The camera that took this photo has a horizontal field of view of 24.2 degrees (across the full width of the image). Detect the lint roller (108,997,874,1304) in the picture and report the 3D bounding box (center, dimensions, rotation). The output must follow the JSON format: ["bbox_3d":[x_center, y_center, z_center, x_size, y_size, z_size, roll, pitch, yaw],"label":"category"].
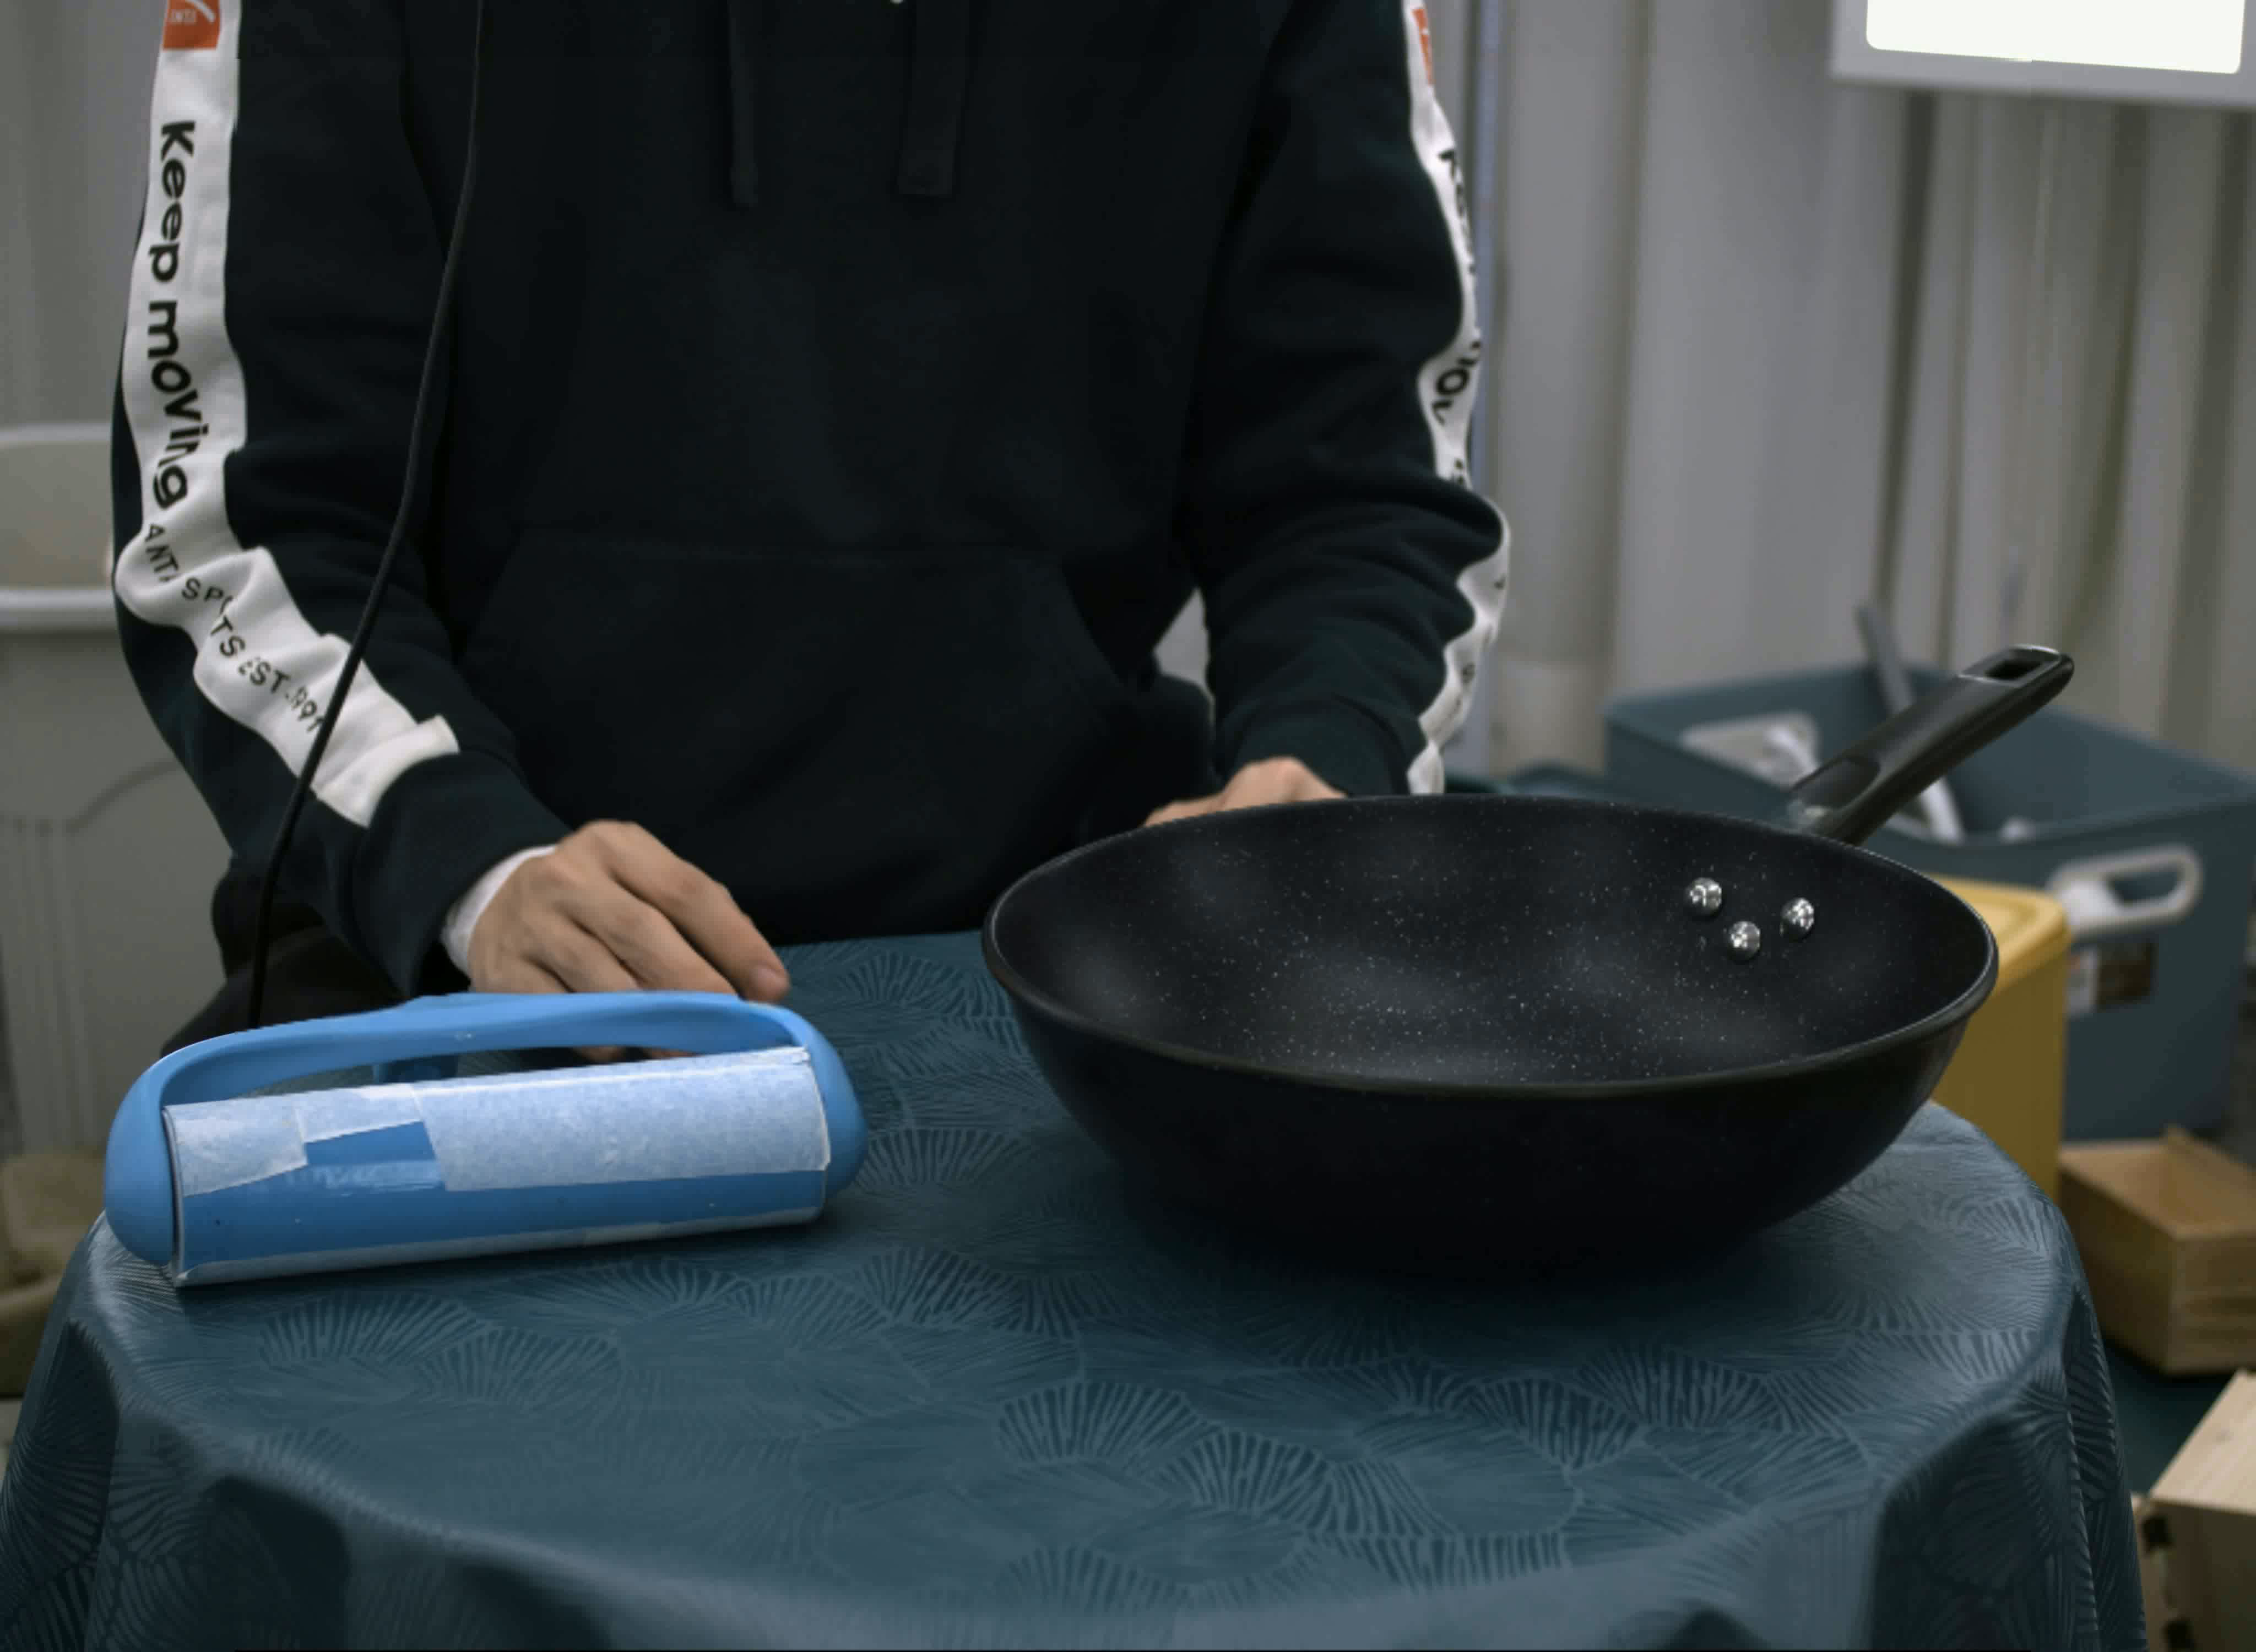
[{"bbox_3d":[-0.207,0.085,1.607,0.229,0.068,0.178,-8,19,-20],"label":"lint roller"}]

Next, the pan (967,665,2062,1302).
[{"bbox_3d":[0.159,0.046,1.663,0.306,0.112,0.479,15,21,37],"label":"pan"}]
